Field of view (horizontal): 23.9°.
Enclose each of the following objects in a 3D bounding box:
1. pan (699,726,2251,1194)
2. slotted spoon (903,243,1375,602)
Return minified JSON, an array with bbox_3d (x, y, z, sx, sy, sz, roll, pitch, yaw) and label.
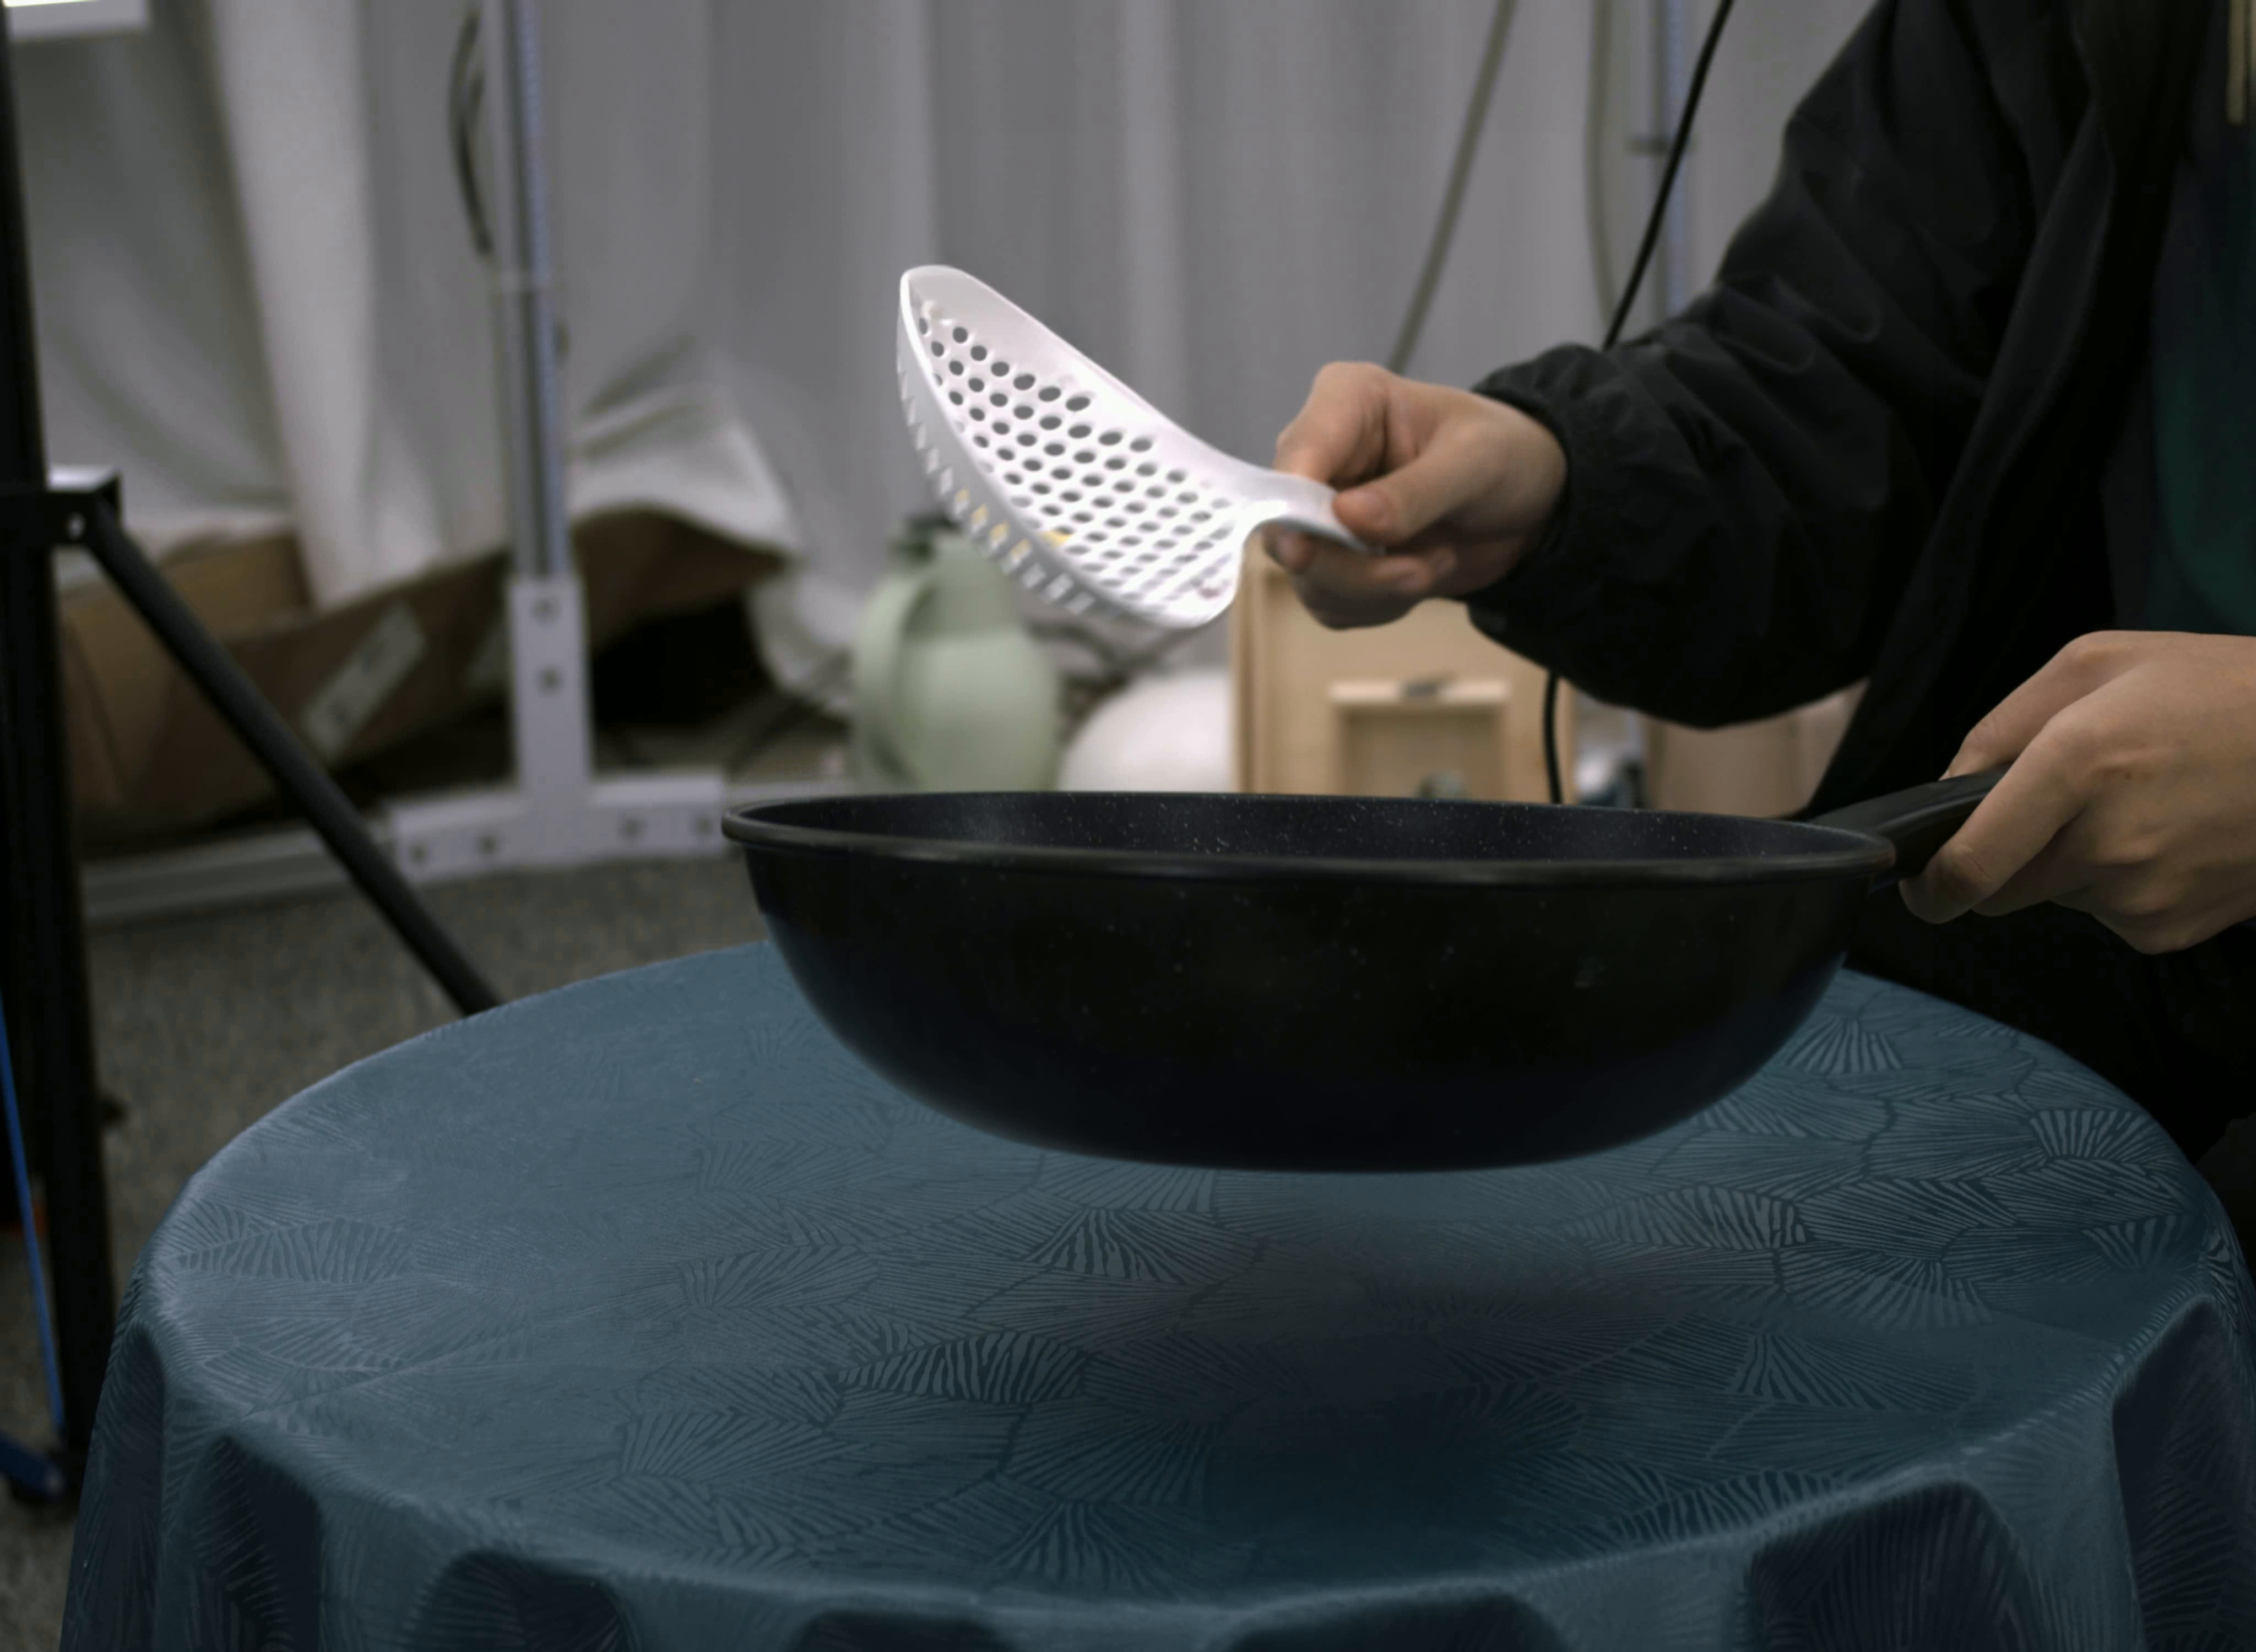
[{"bbox_3d":[0.114,0.030,1.429,0.466,0.112,0.316,0,5,-27],"label":"pan"},{"bbox_3d":[0.022,-0.102,1.664,0.139,0.050,0.340,52,20,20],"label":"slotted spoon"}]
